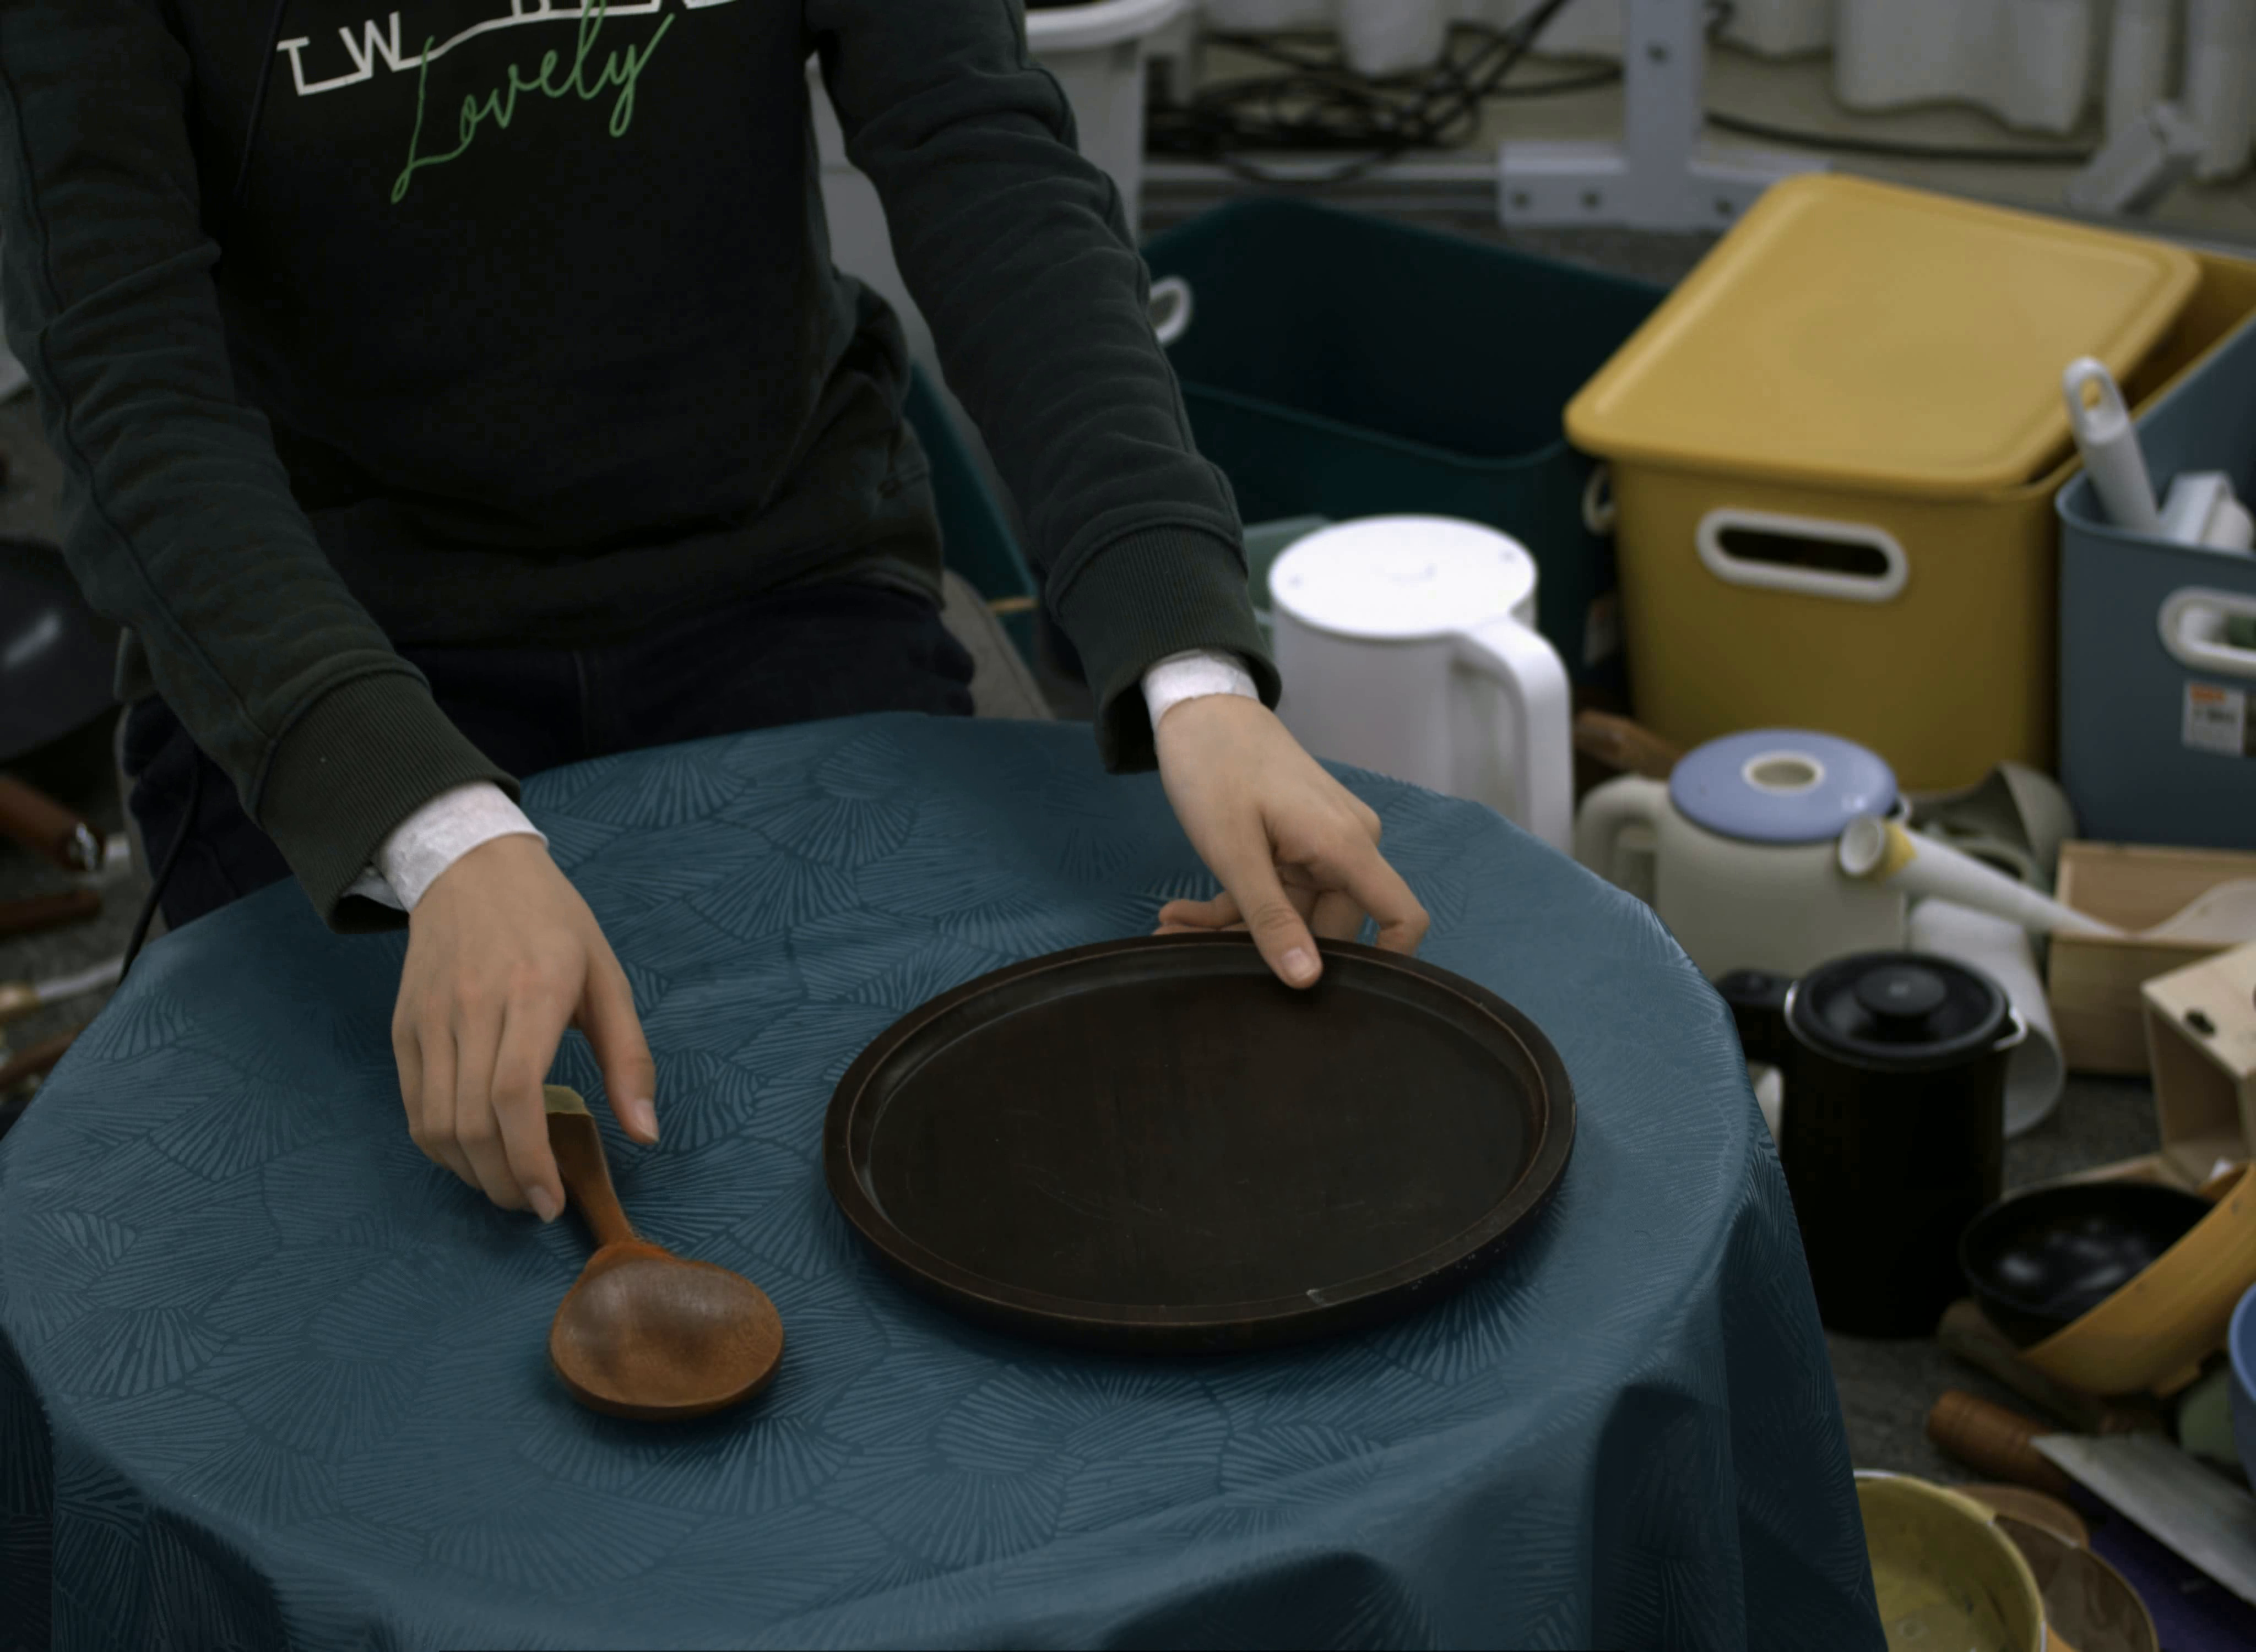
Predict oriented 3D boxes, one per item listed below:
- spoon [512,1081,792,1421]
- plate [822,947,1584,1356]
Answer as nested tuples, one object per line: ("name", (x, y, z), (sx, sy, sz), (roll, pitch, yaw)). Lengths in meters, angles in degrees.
("spoon", (-0.165, 0.138, 1.826), (0.075, 0.017, 0.218), (-11, 29, -15))
("plate", (0.025, 0.106, 1.866), (0.253, 0.029, 0.258), (-1, 27, 1))
